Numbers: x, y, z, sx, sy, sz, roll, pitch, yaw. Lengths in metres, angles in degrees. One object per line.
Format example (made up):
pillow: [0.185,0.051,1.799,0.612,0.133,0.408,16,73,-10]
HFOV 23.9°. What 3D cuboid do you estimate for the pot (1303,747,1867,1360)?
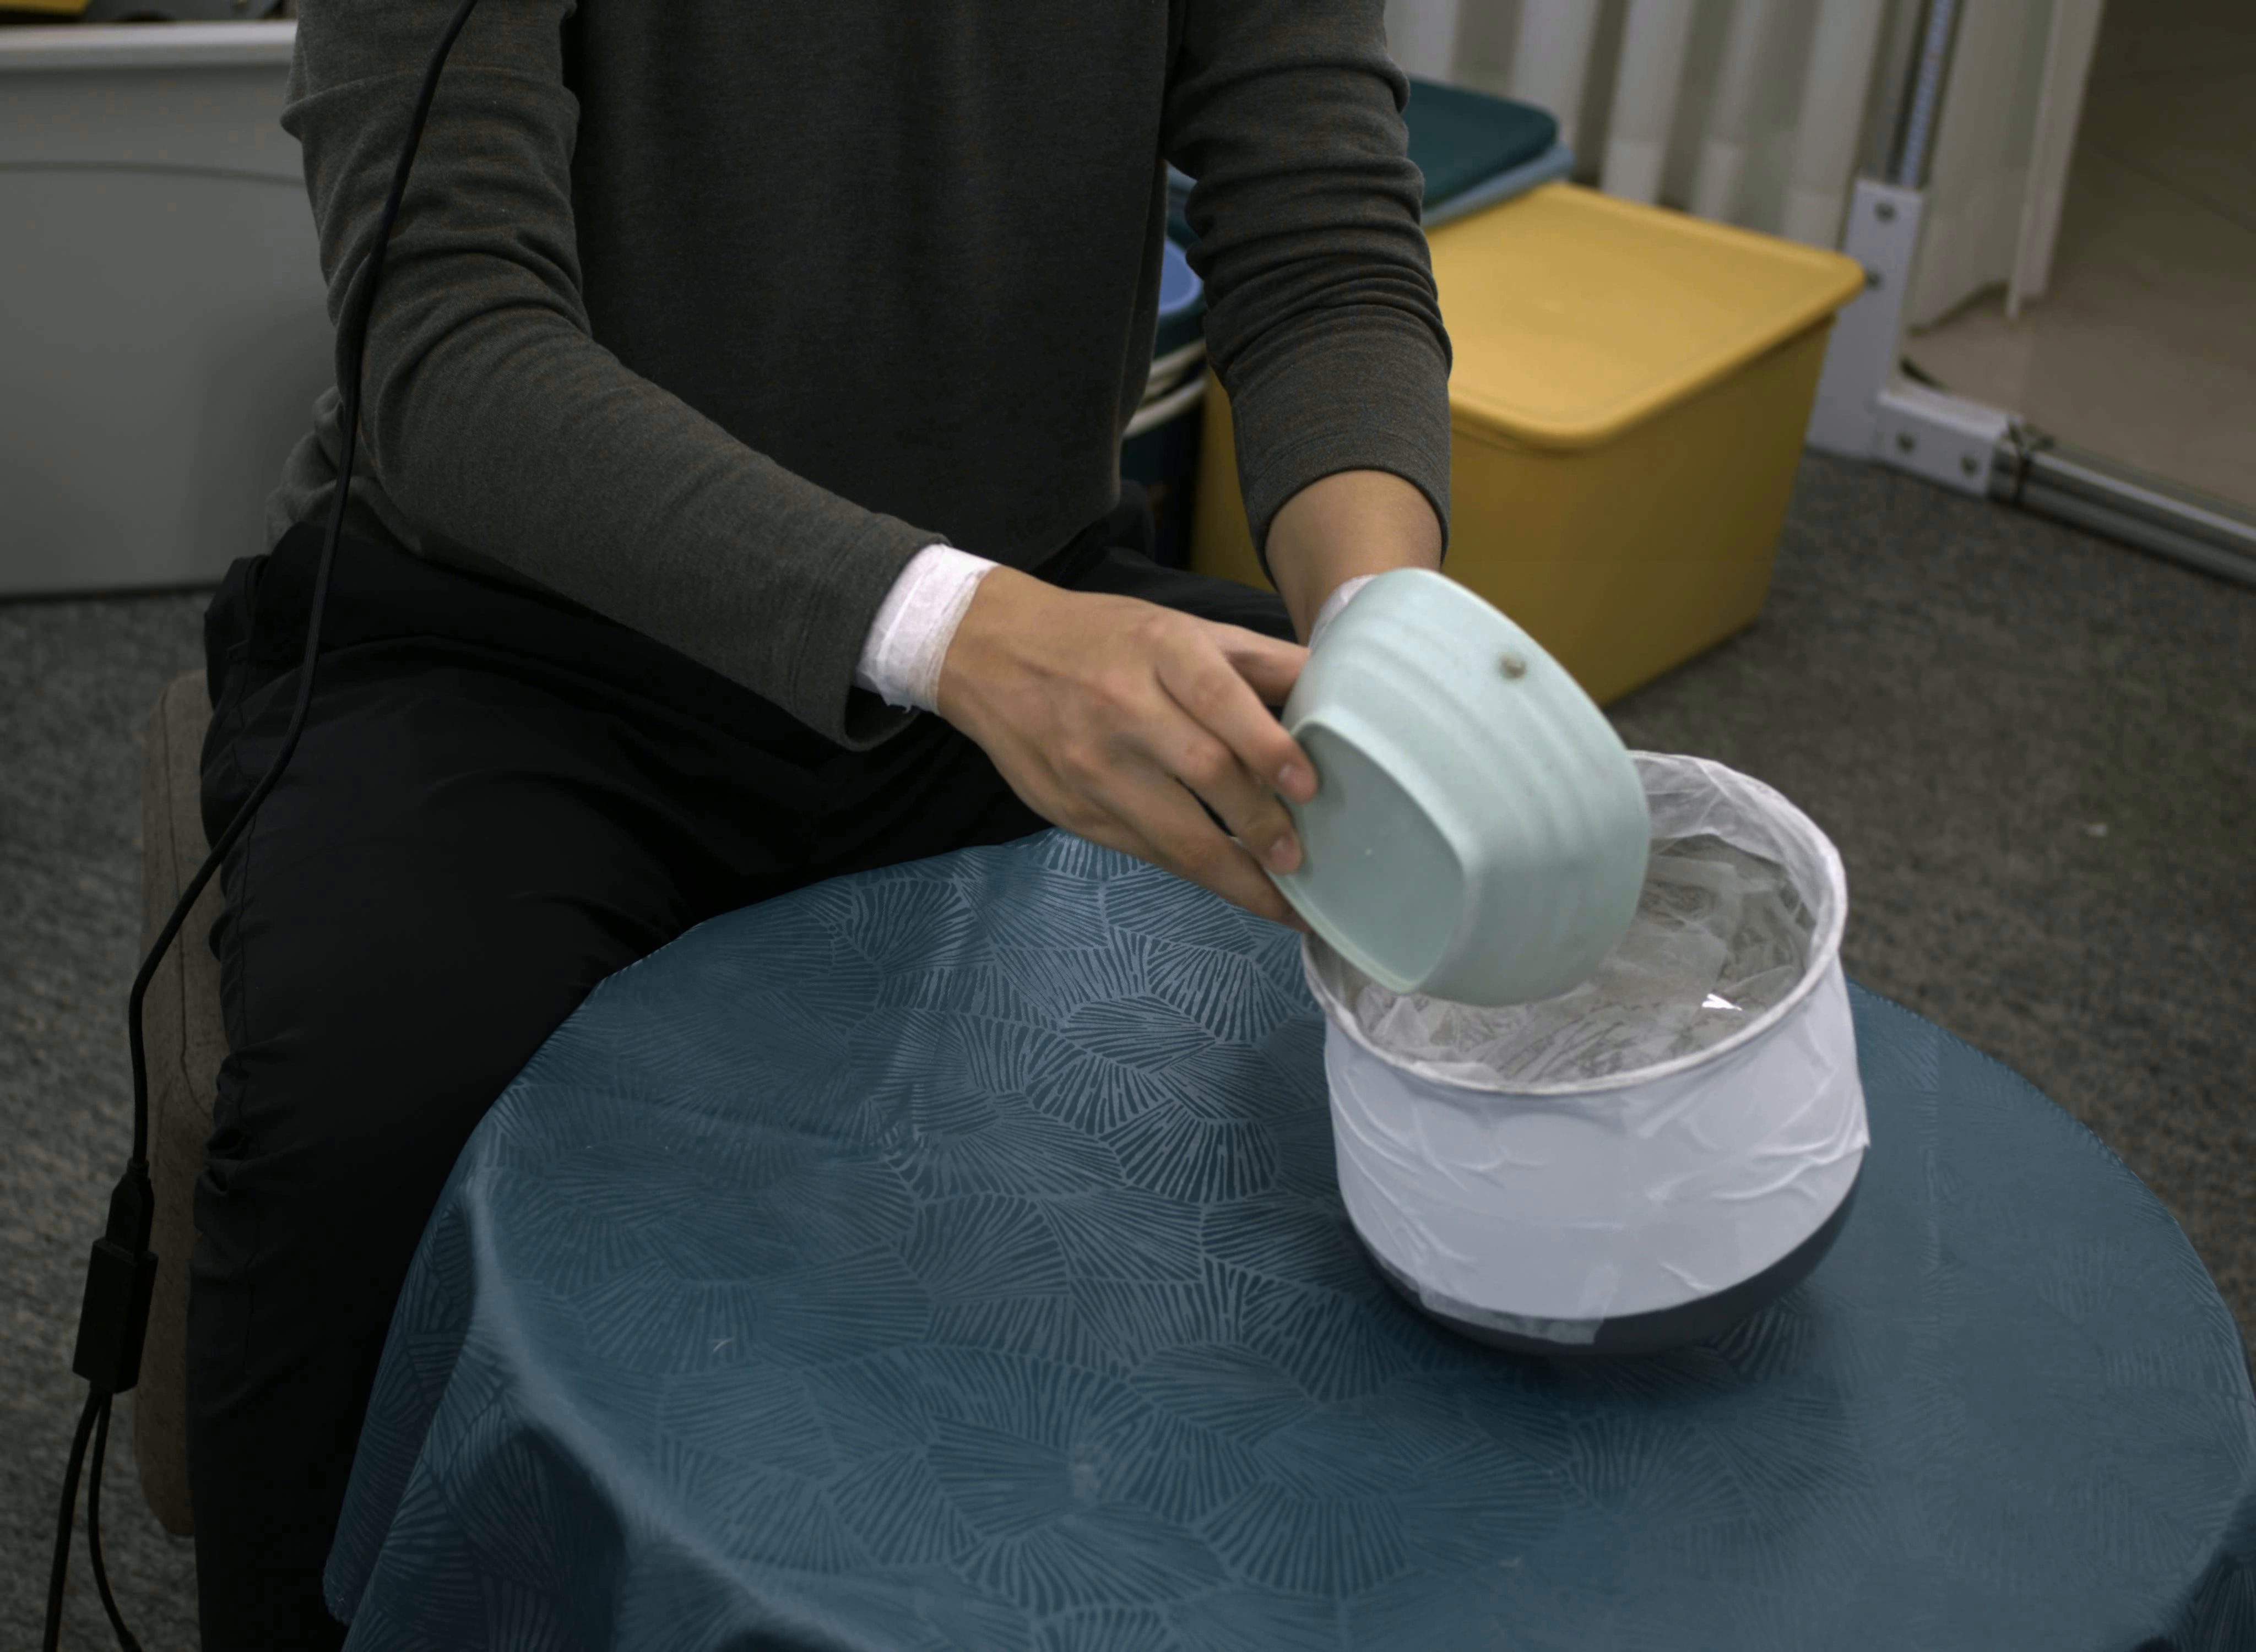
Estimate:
pot: [0.138,0.065,1.767,0.178,0.136,0.236,-24,38,-19]

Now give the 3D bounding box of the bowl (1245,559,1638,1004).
bowl: [0.089,-0.004,1.682,0.058,0.151,0.152,-28,42,-34]
